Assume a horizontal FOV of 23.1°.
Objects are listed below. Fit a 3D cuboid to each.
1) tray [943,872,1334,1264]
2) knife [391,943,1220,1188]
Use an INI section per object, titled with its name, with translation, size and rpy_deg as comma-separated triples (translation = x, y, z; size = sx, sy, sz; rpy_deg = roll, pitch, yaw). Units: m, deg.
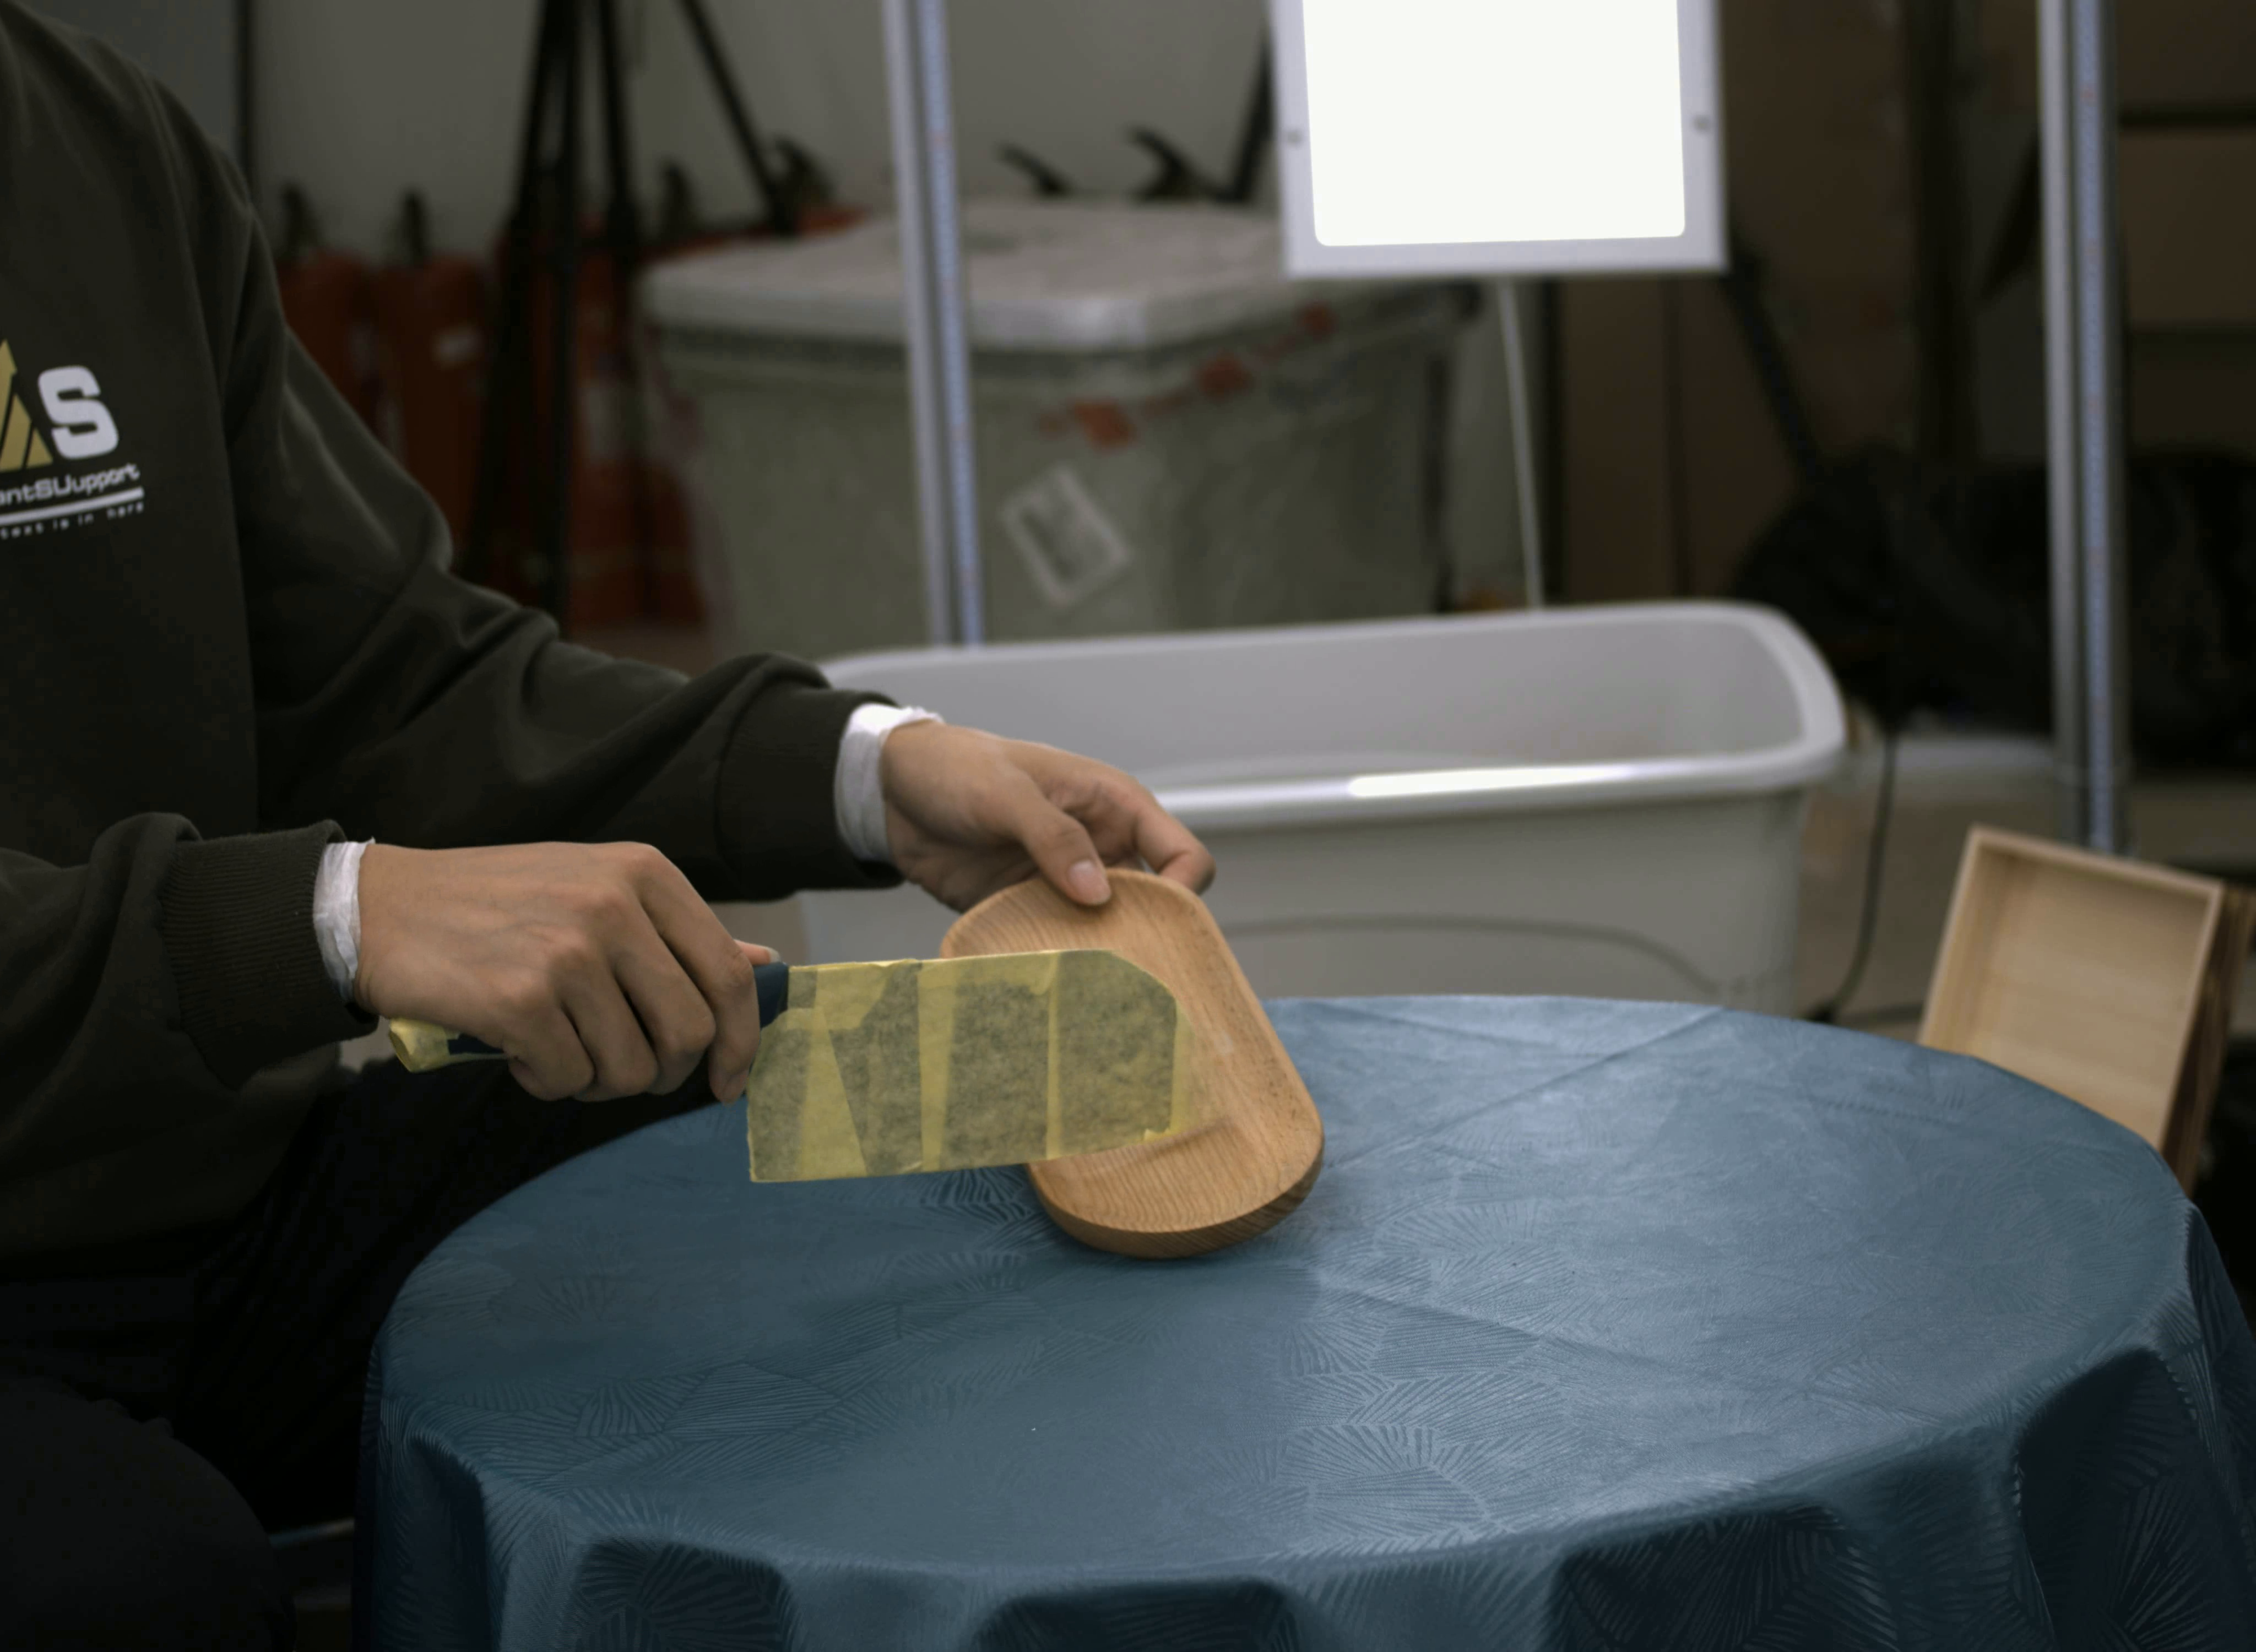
[tray]
translation = 0.002, 0.082, 1.915
size = 0.101, 0.020, 0.233
rpy_deg = -17, 34, -7
[knife]
translation = -0.103, 0.080, 1.829
size = 0.284, 0.081, 0.027
rpy_deg = 0, 6, -18
